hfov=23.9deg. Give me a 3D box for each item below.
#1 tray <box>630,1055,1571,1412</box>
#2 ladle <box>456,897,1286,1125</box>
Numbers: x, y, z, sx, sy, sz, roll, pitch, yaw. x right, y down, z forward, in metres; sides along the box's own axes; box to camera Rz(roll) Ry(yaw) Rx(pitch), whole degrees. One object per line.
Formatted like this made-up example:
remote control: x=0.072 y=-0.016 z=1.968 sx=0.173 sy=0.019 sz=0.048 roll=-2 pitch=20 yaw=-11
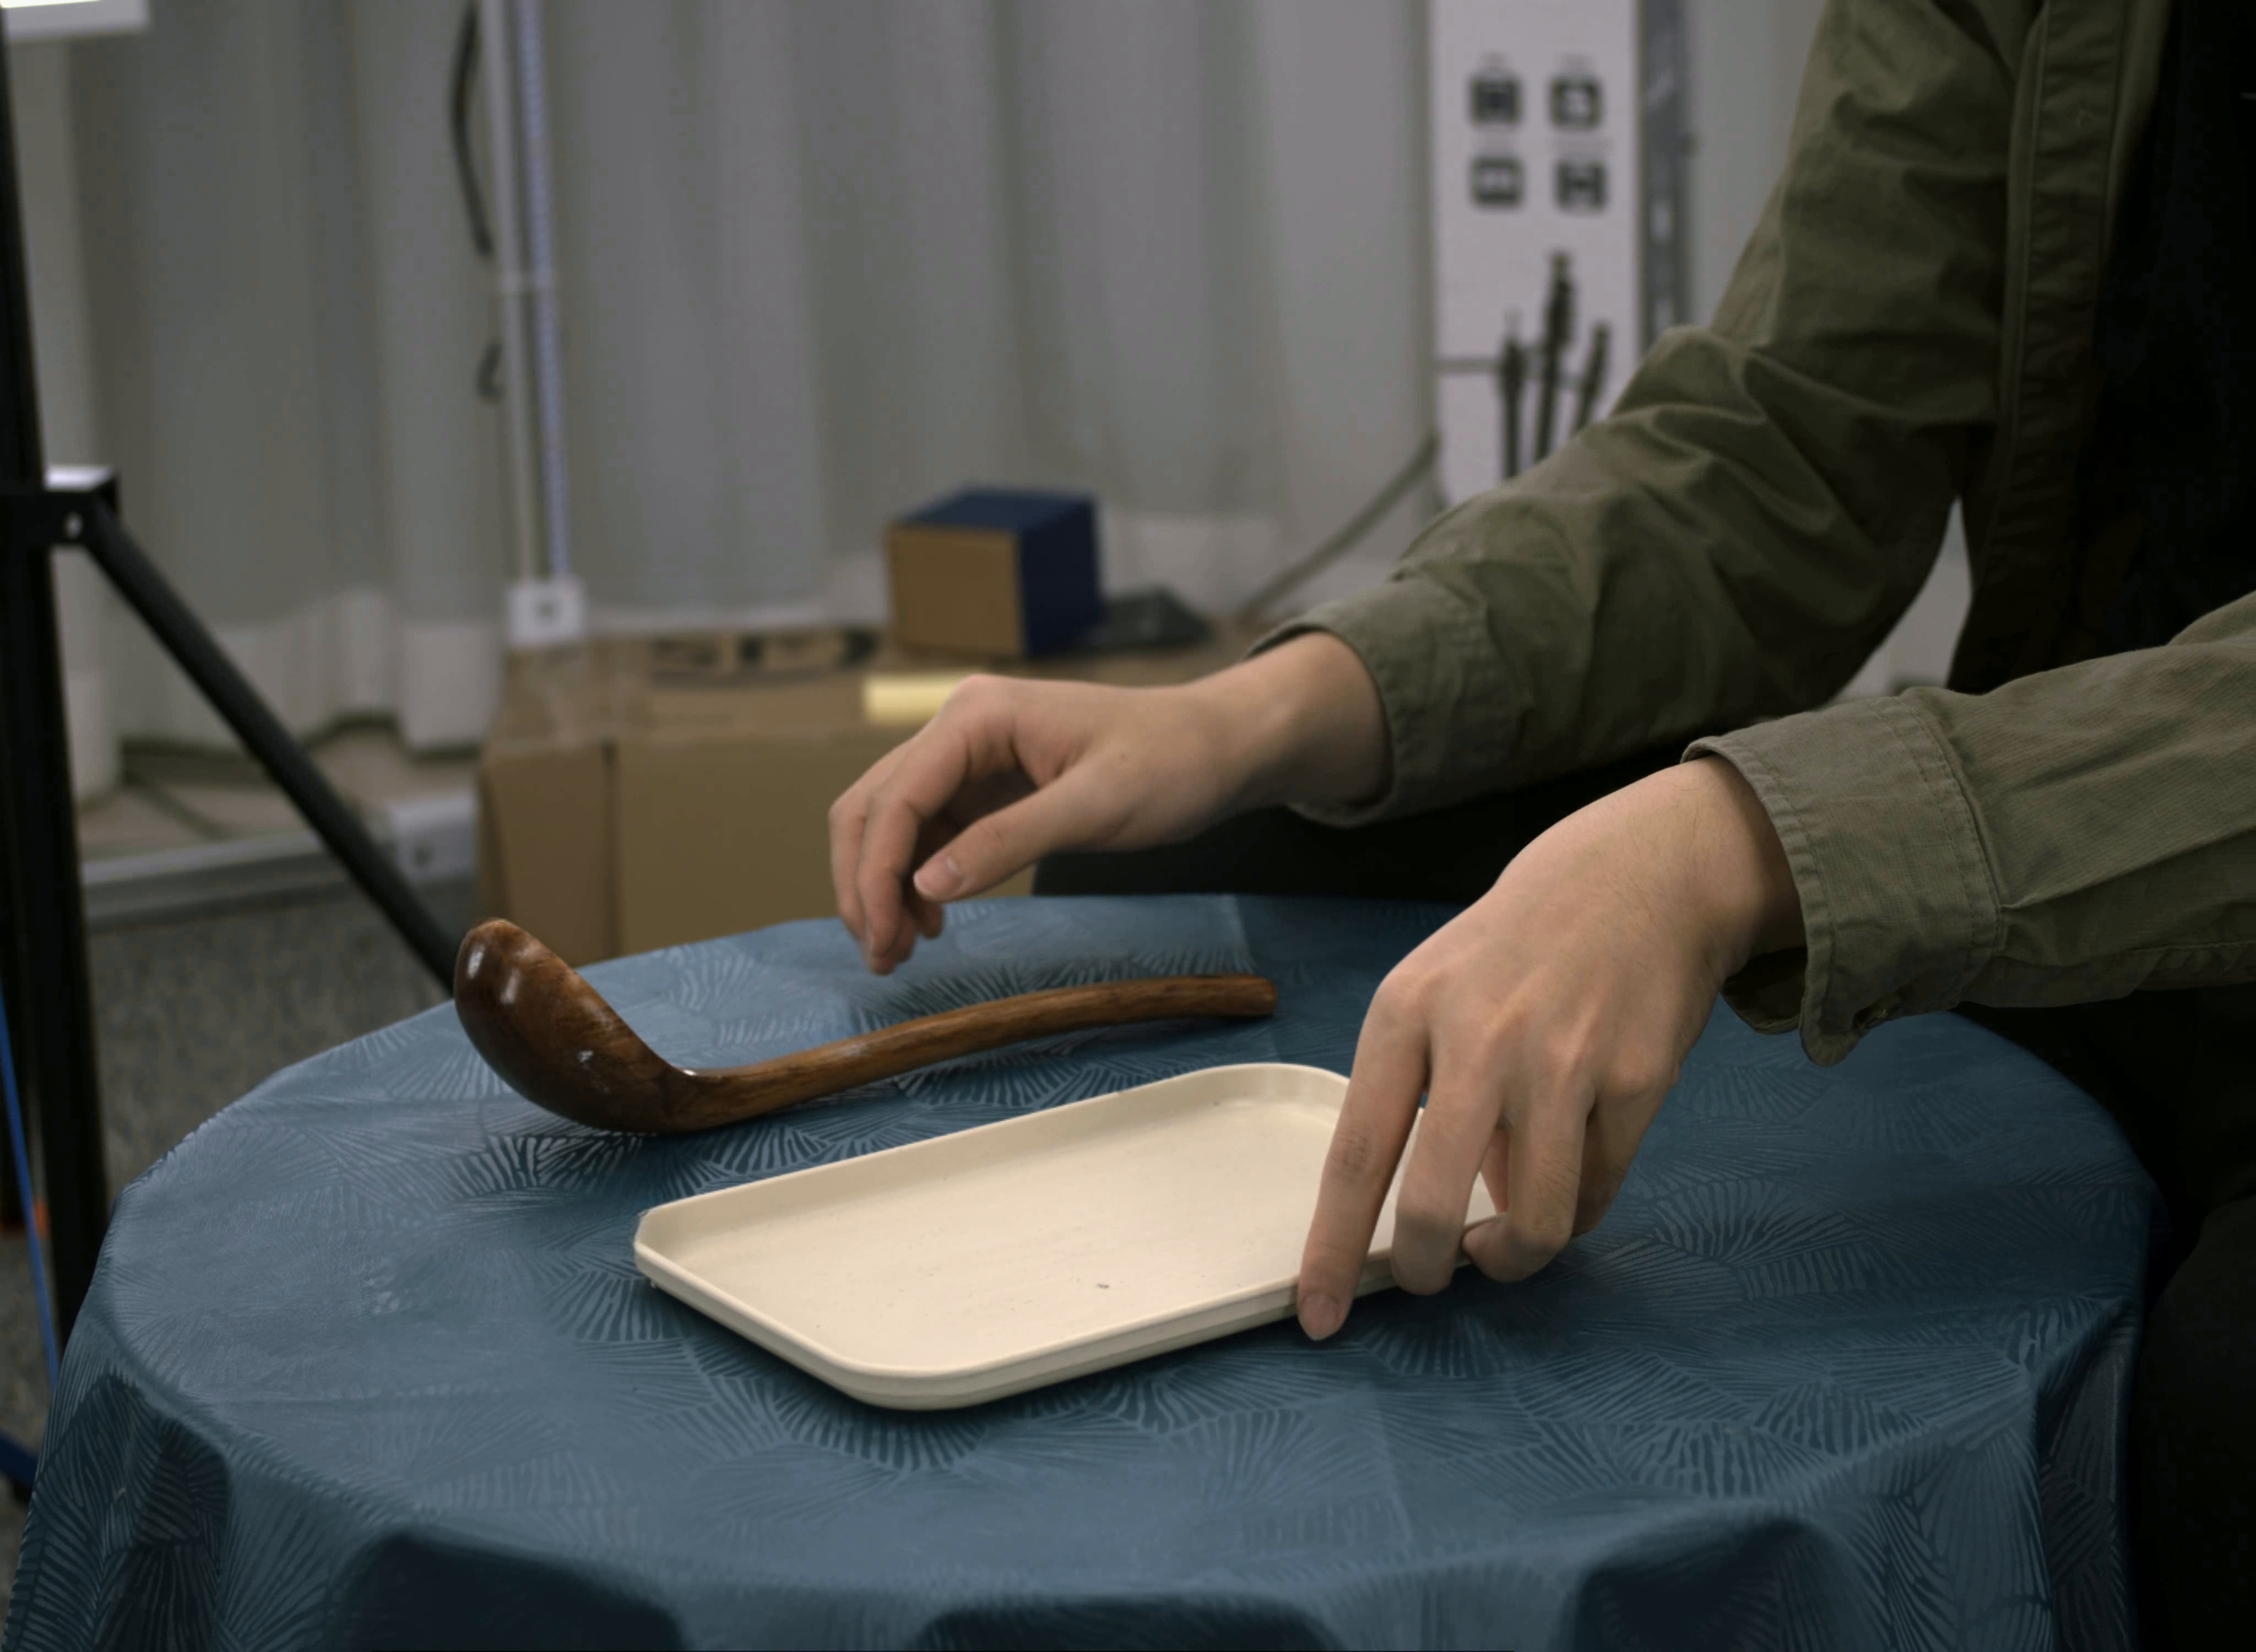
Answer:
tray: x=-0.007 y=0.114 z=1.504 sx=0.234 sy=0.017 sz=0.175 roll=-13 pitch=19 yaw=-29
ladle: x=-0.077 y=0.043 z=1.663 sx=0.268 sy=0.077 sz=0.083 roll=-9 pitch=12 yaw=-23
